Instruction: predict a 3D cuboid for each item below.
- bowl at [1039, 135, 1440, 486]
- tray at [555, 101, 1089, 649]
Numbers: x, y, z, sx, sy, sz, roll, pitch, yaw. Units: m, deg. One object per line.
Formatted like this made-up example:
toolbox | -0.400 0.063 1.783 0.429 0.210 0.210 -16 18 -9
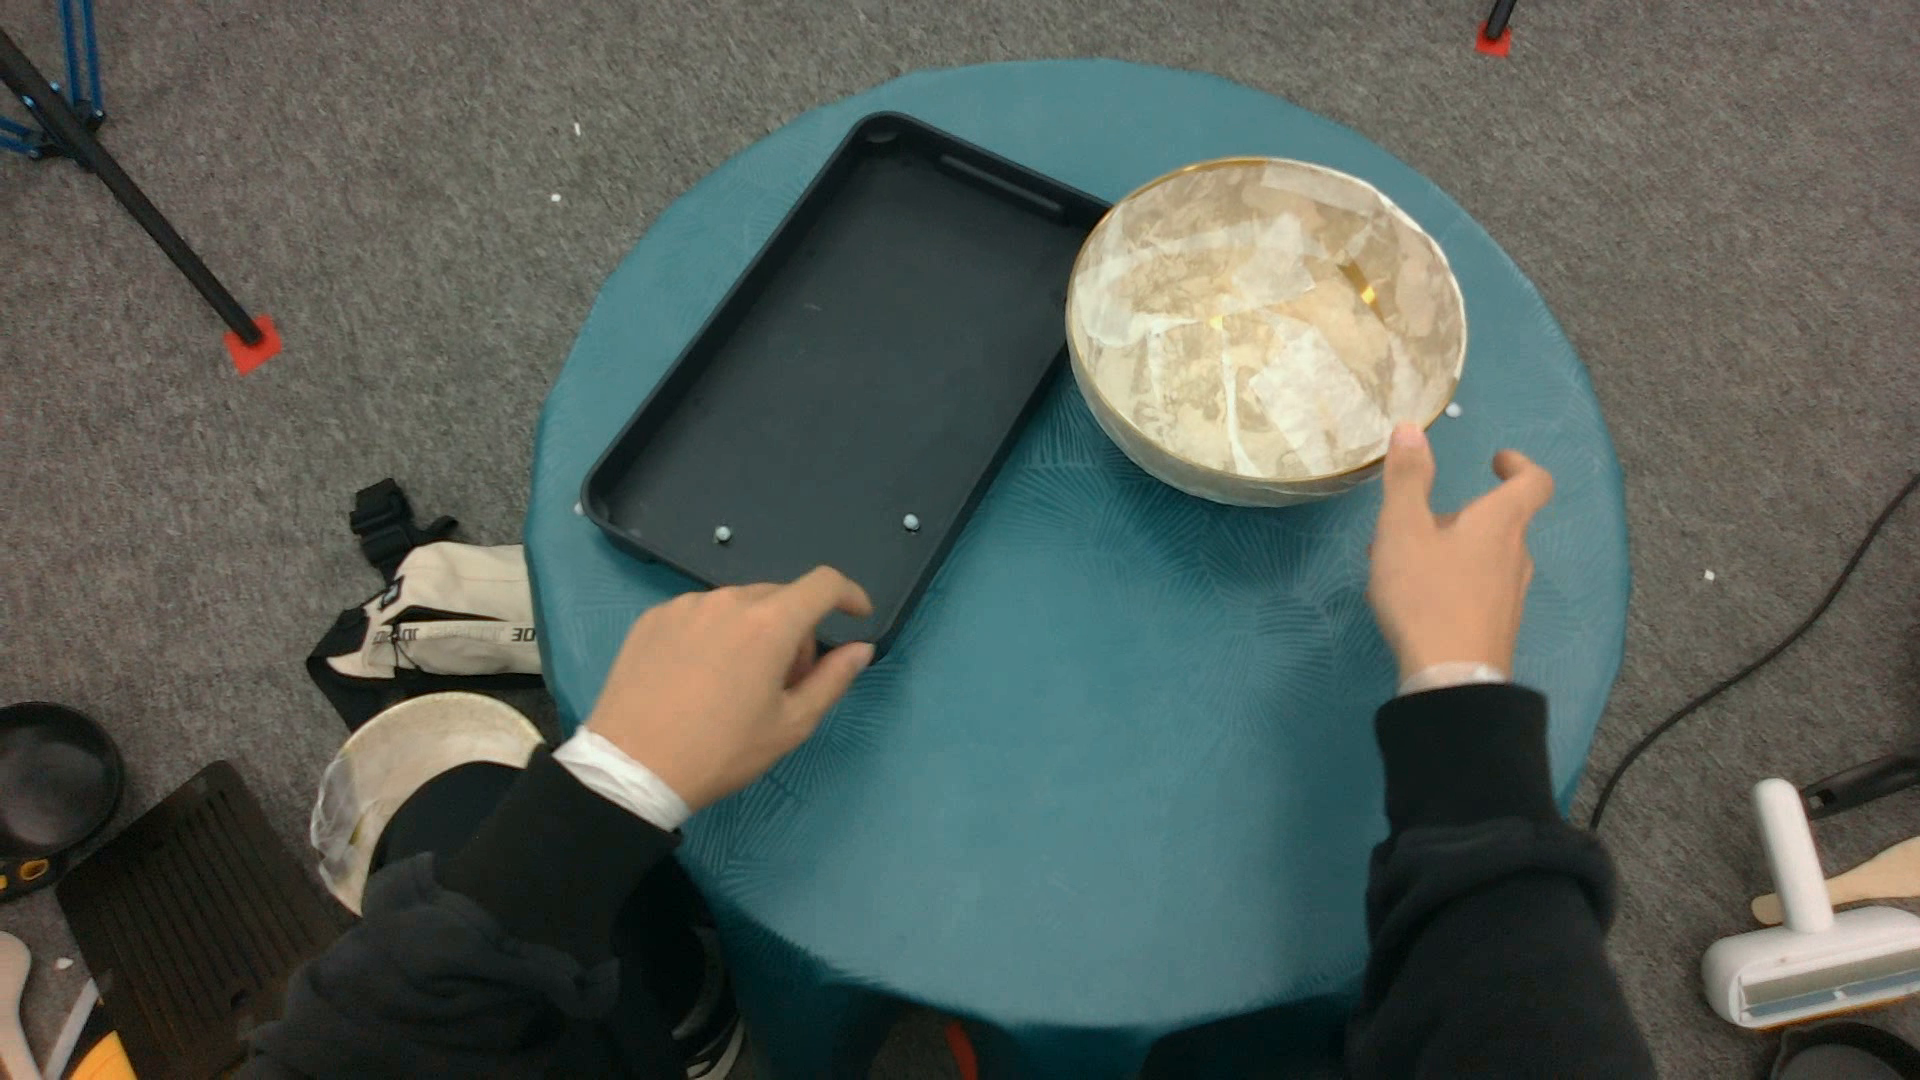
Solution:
bowl | 0.139 -0.109 0.741 0.215 0.094 0.215 1 65 -2
tray | -0.061 -0.104 0.768 0.184 0.037 0.319 27 65 13
